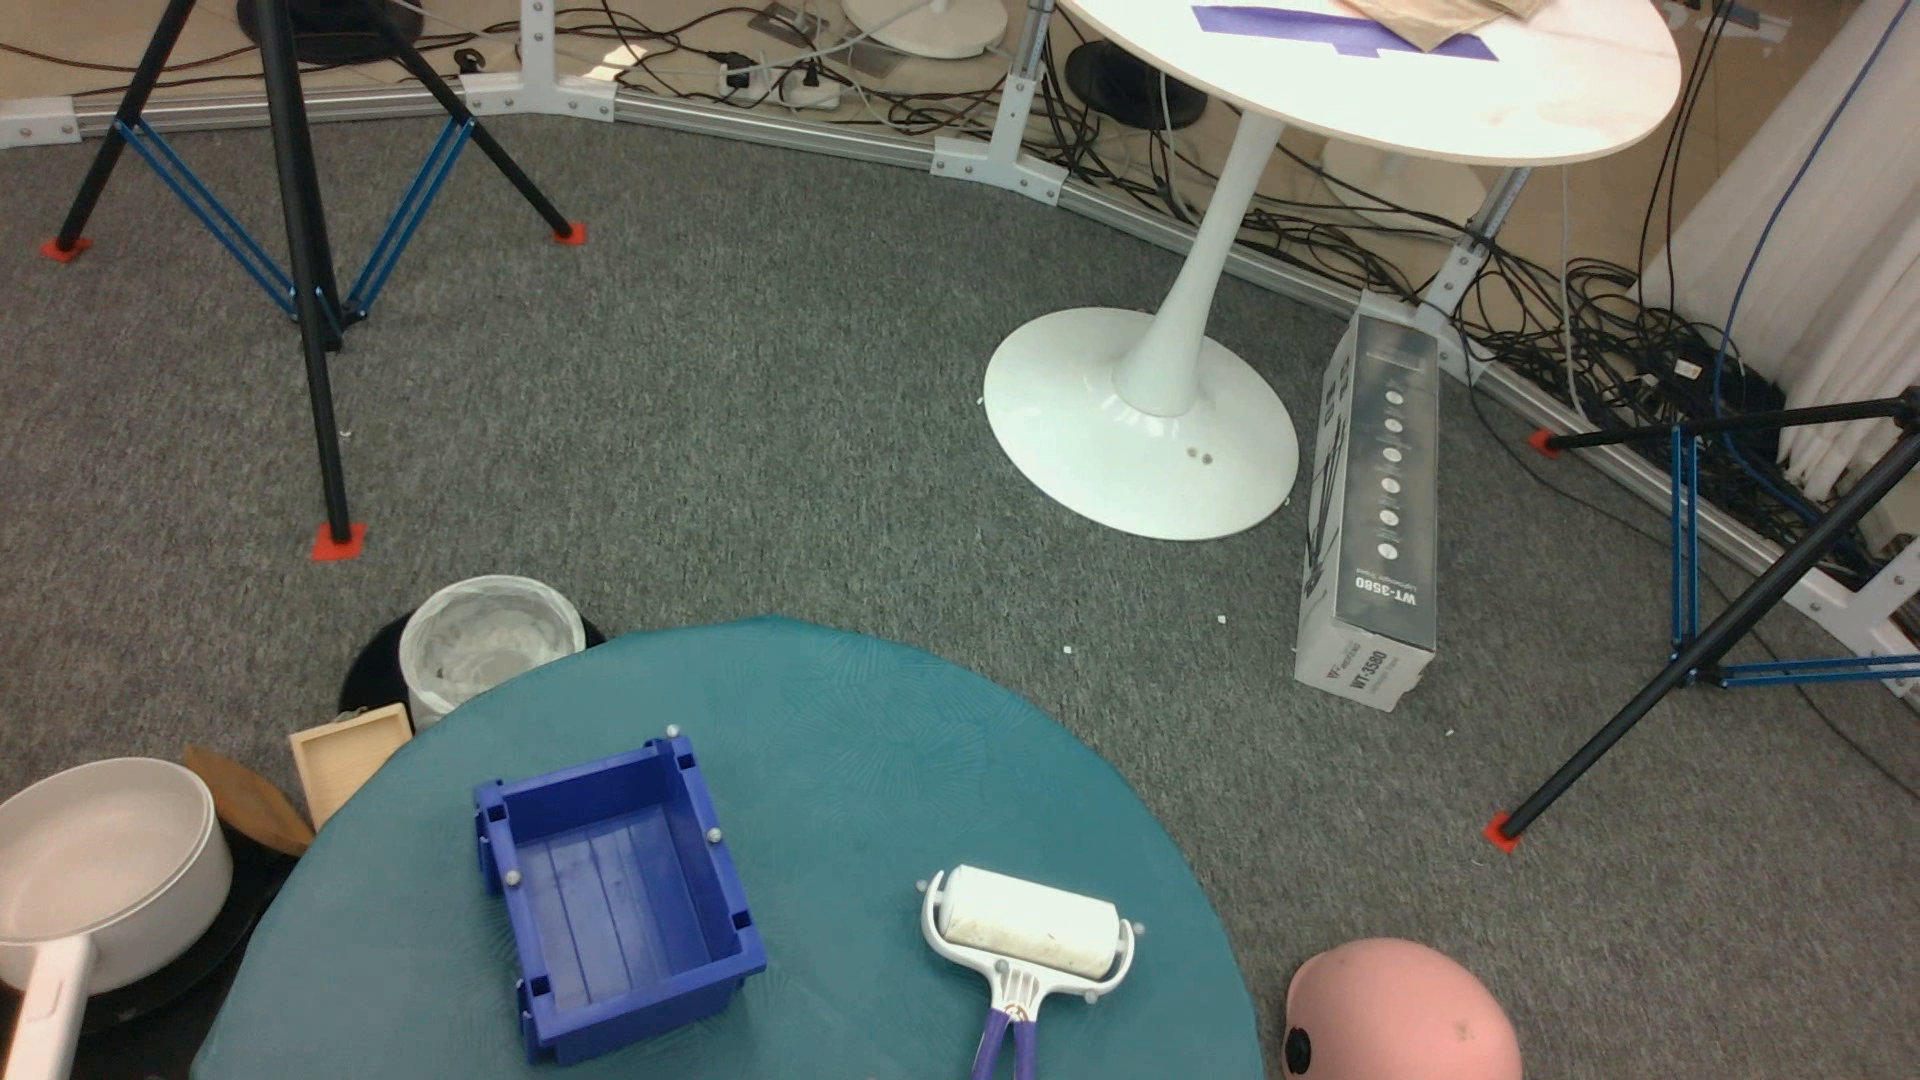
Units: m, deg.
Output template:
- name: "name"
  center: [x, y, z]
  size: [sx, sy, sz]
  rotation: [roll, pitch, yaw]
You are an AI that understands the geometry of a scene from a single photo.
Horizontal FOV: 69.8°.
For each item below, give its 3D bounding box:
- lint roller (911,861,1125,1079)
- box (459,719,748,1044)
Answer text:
- name: "lint roller"
  center: [0.025, 0.279, 0.806]
  size: [0.133, 0.050, 0.182]
  rotation: [17, 45, -3]
- name: "box"
  center: [-0.212, 0.189, 0.795]
  size: [0.125, 0.081, 0.180]
  rotation: [-12, 56, -24]
